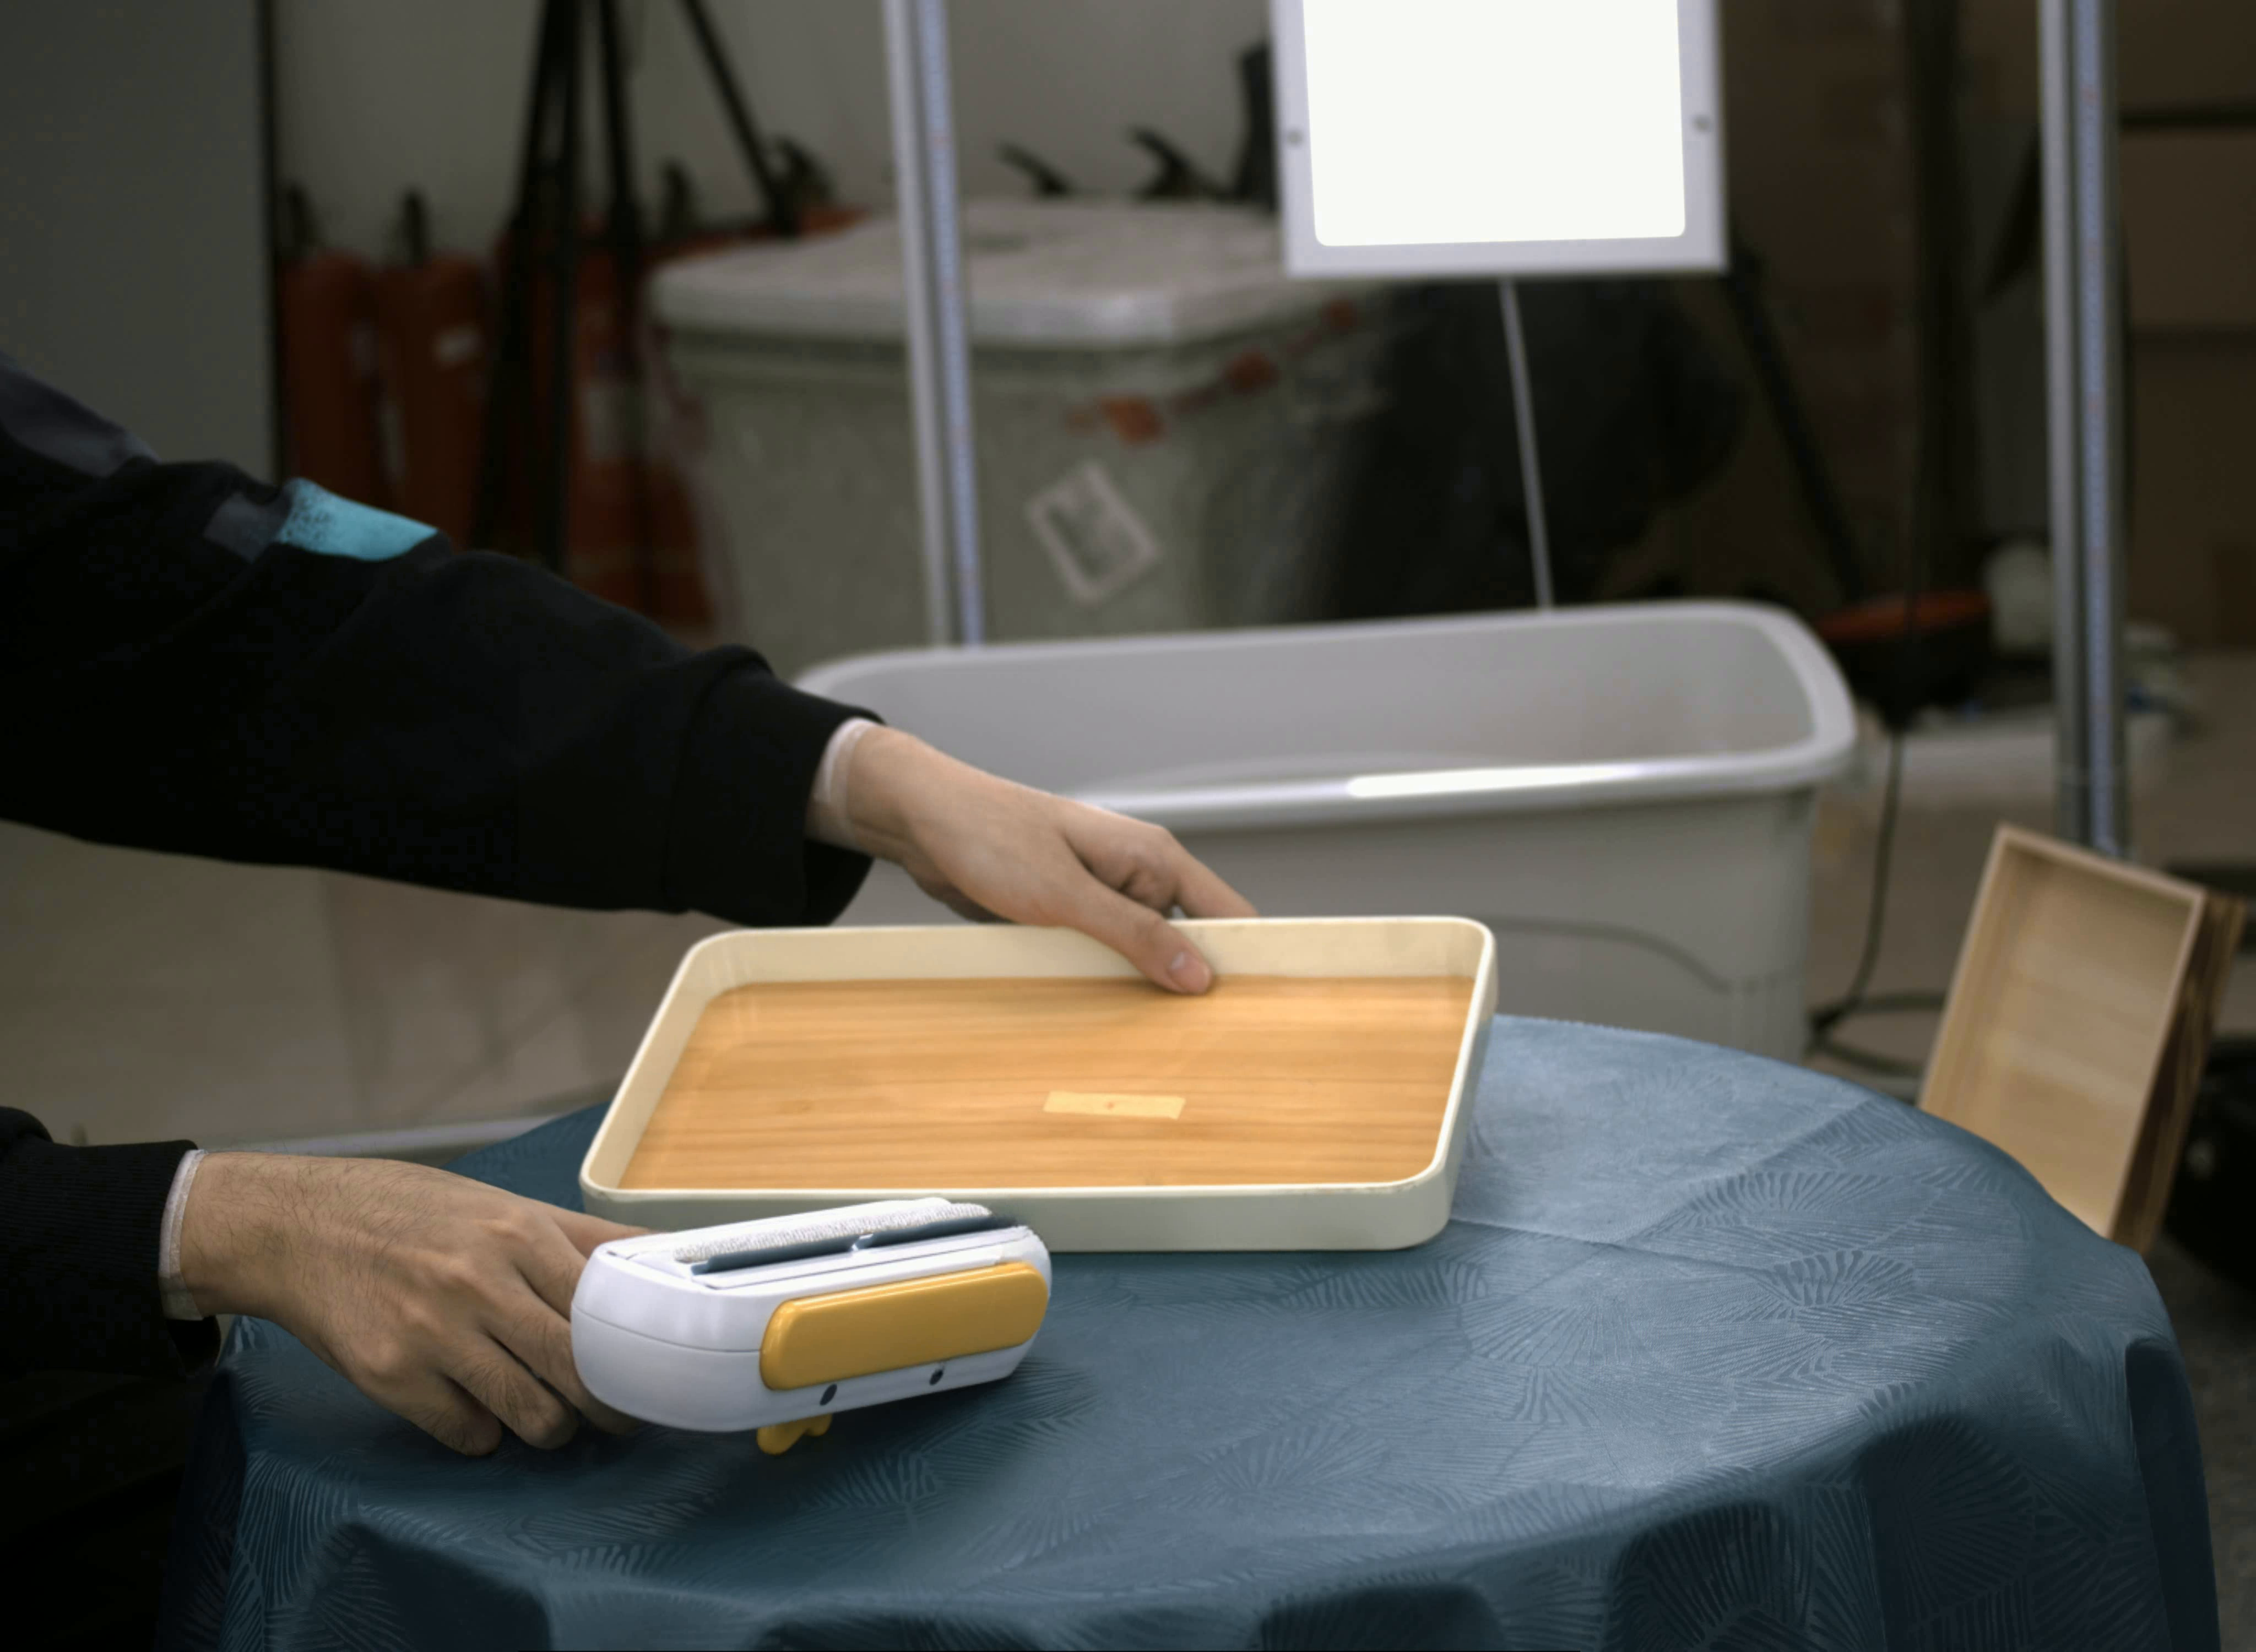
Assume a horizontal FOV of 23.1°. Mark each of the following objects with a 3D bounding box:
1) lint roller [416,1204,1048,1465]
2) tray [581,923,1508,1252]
[{"bbox_3d":[-0.145,0.151,1.702,0.196,0.074,0.188,4,9,38],"label":"lint roller"},{"bbox_3d":[-0.025,0.090,1.916,0.303,0.027,0.189,-1,26,15],"label":"tray"}]
